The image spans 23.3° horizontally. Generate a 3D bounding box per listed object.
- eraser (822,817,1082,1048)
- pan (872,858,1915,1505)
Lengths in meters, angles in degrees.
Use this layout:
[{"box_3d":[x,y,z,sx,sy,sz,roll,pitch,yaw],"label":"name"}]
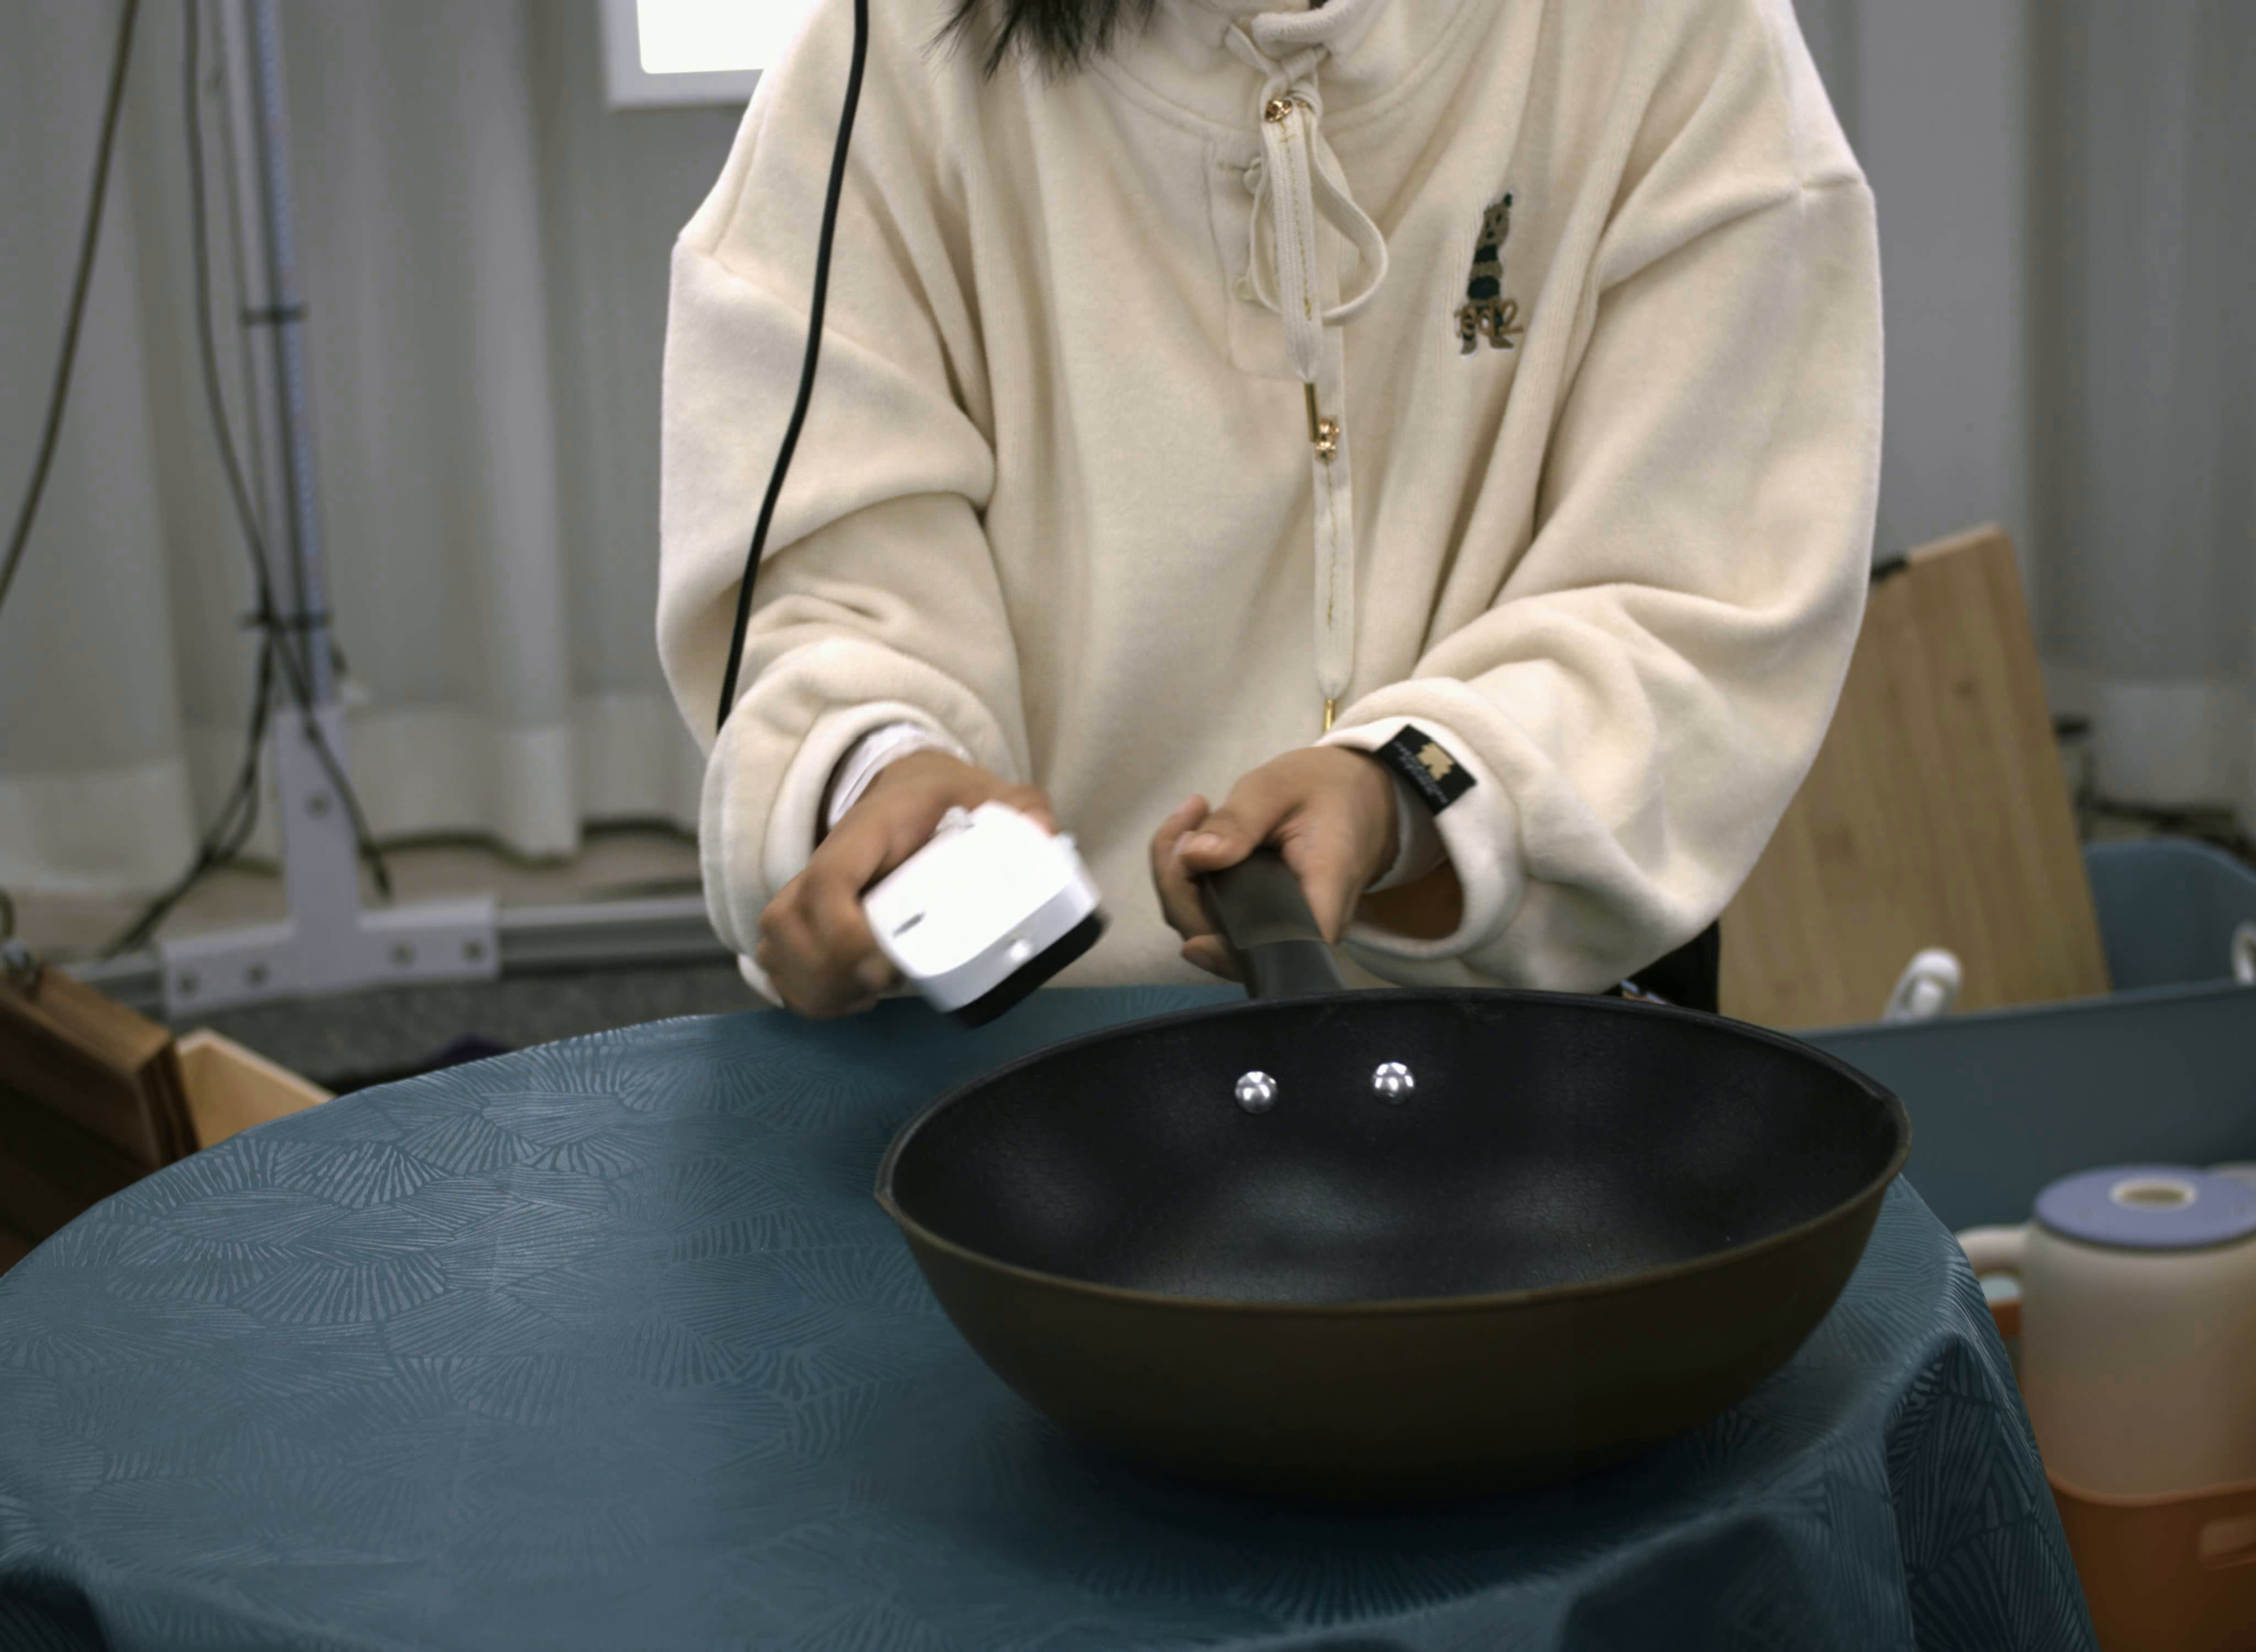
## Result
[{"box_3d":[-0.055,0.031,1.706,0.063,0.034,0.132,-34,15,-7],"label":"eraser"},{"box_3d":[0.065,0.101,1.595,0.287,0.086,0.466,-4,14,-5],"label":"pan"}]
